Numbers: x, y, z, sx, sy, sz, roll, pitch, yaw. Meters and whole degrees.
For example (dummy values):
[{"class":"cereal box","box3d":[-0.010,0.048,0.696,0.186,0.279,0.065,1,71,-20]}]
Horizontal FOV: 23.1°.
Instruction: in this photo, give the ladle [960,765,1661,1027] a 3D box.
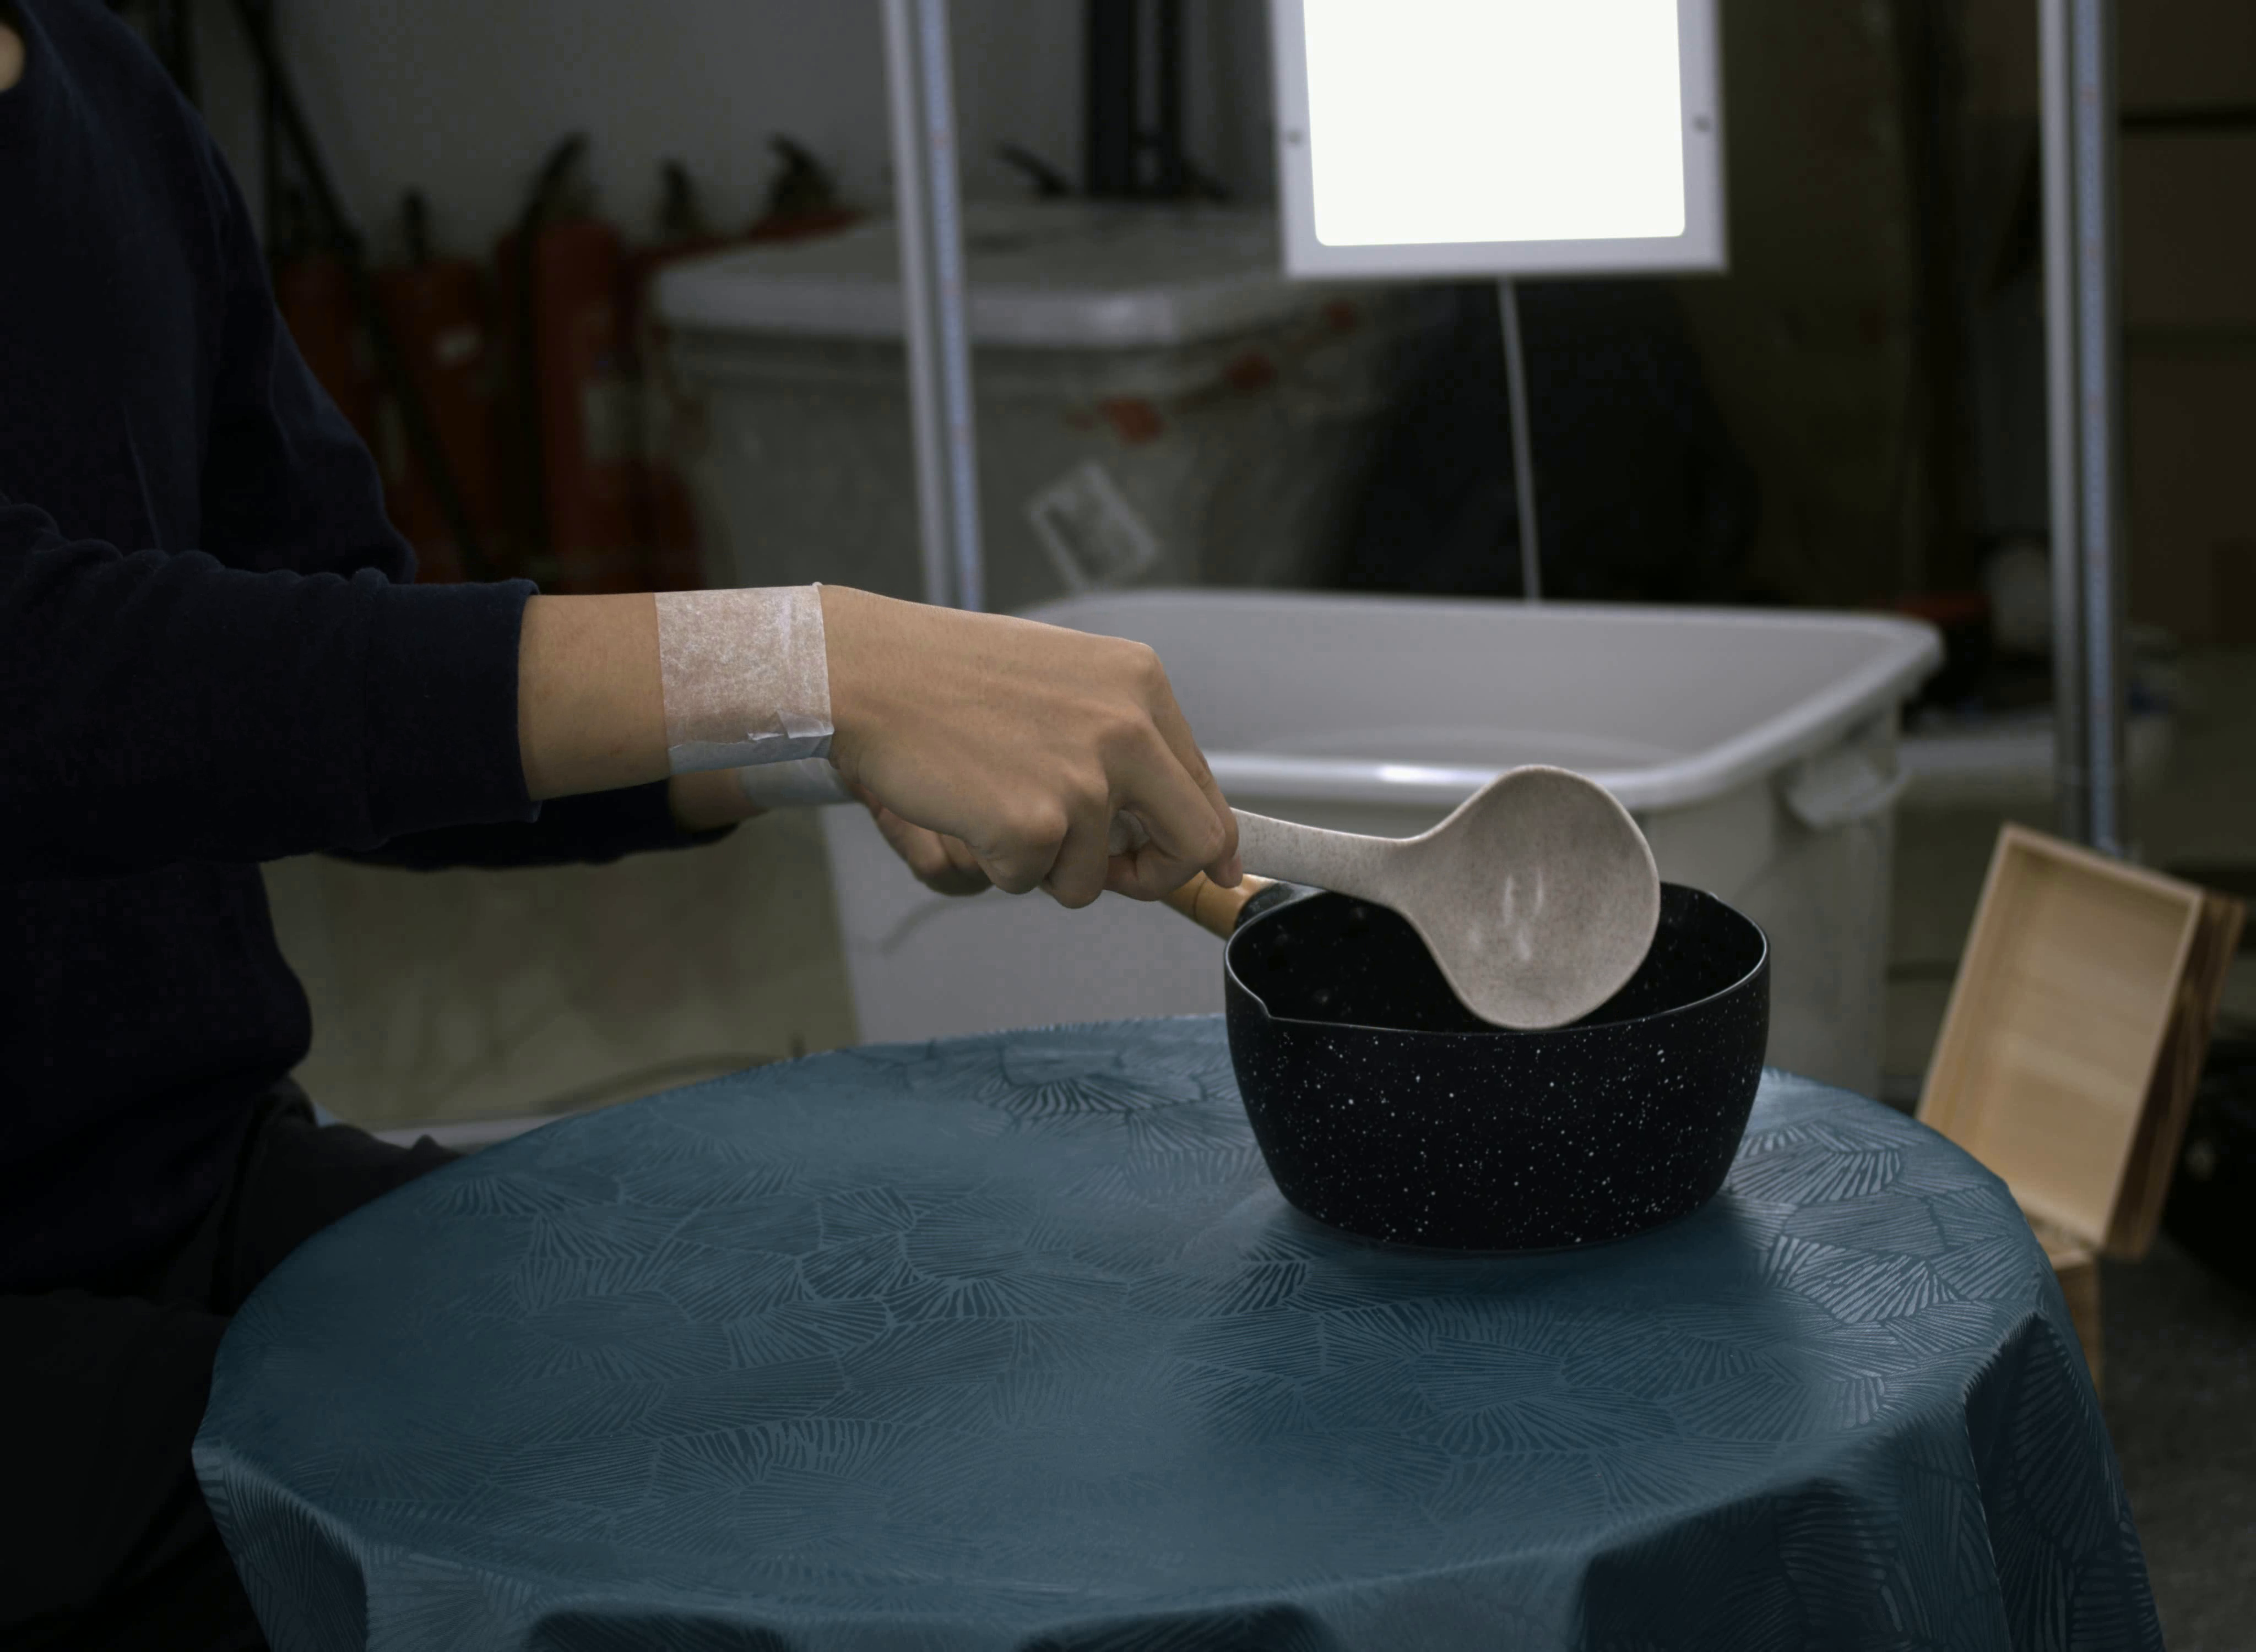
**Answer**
[{"class":"ladle","box3d":[0.064,0.011,1.757,0.071,0.090,0.268,17,5,44]}]

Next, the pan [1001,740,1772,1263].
[{"class":"pan","box3d":[0.071,0.054,1.906,0.202,0.109,0.350,-17,23,-38]}]
